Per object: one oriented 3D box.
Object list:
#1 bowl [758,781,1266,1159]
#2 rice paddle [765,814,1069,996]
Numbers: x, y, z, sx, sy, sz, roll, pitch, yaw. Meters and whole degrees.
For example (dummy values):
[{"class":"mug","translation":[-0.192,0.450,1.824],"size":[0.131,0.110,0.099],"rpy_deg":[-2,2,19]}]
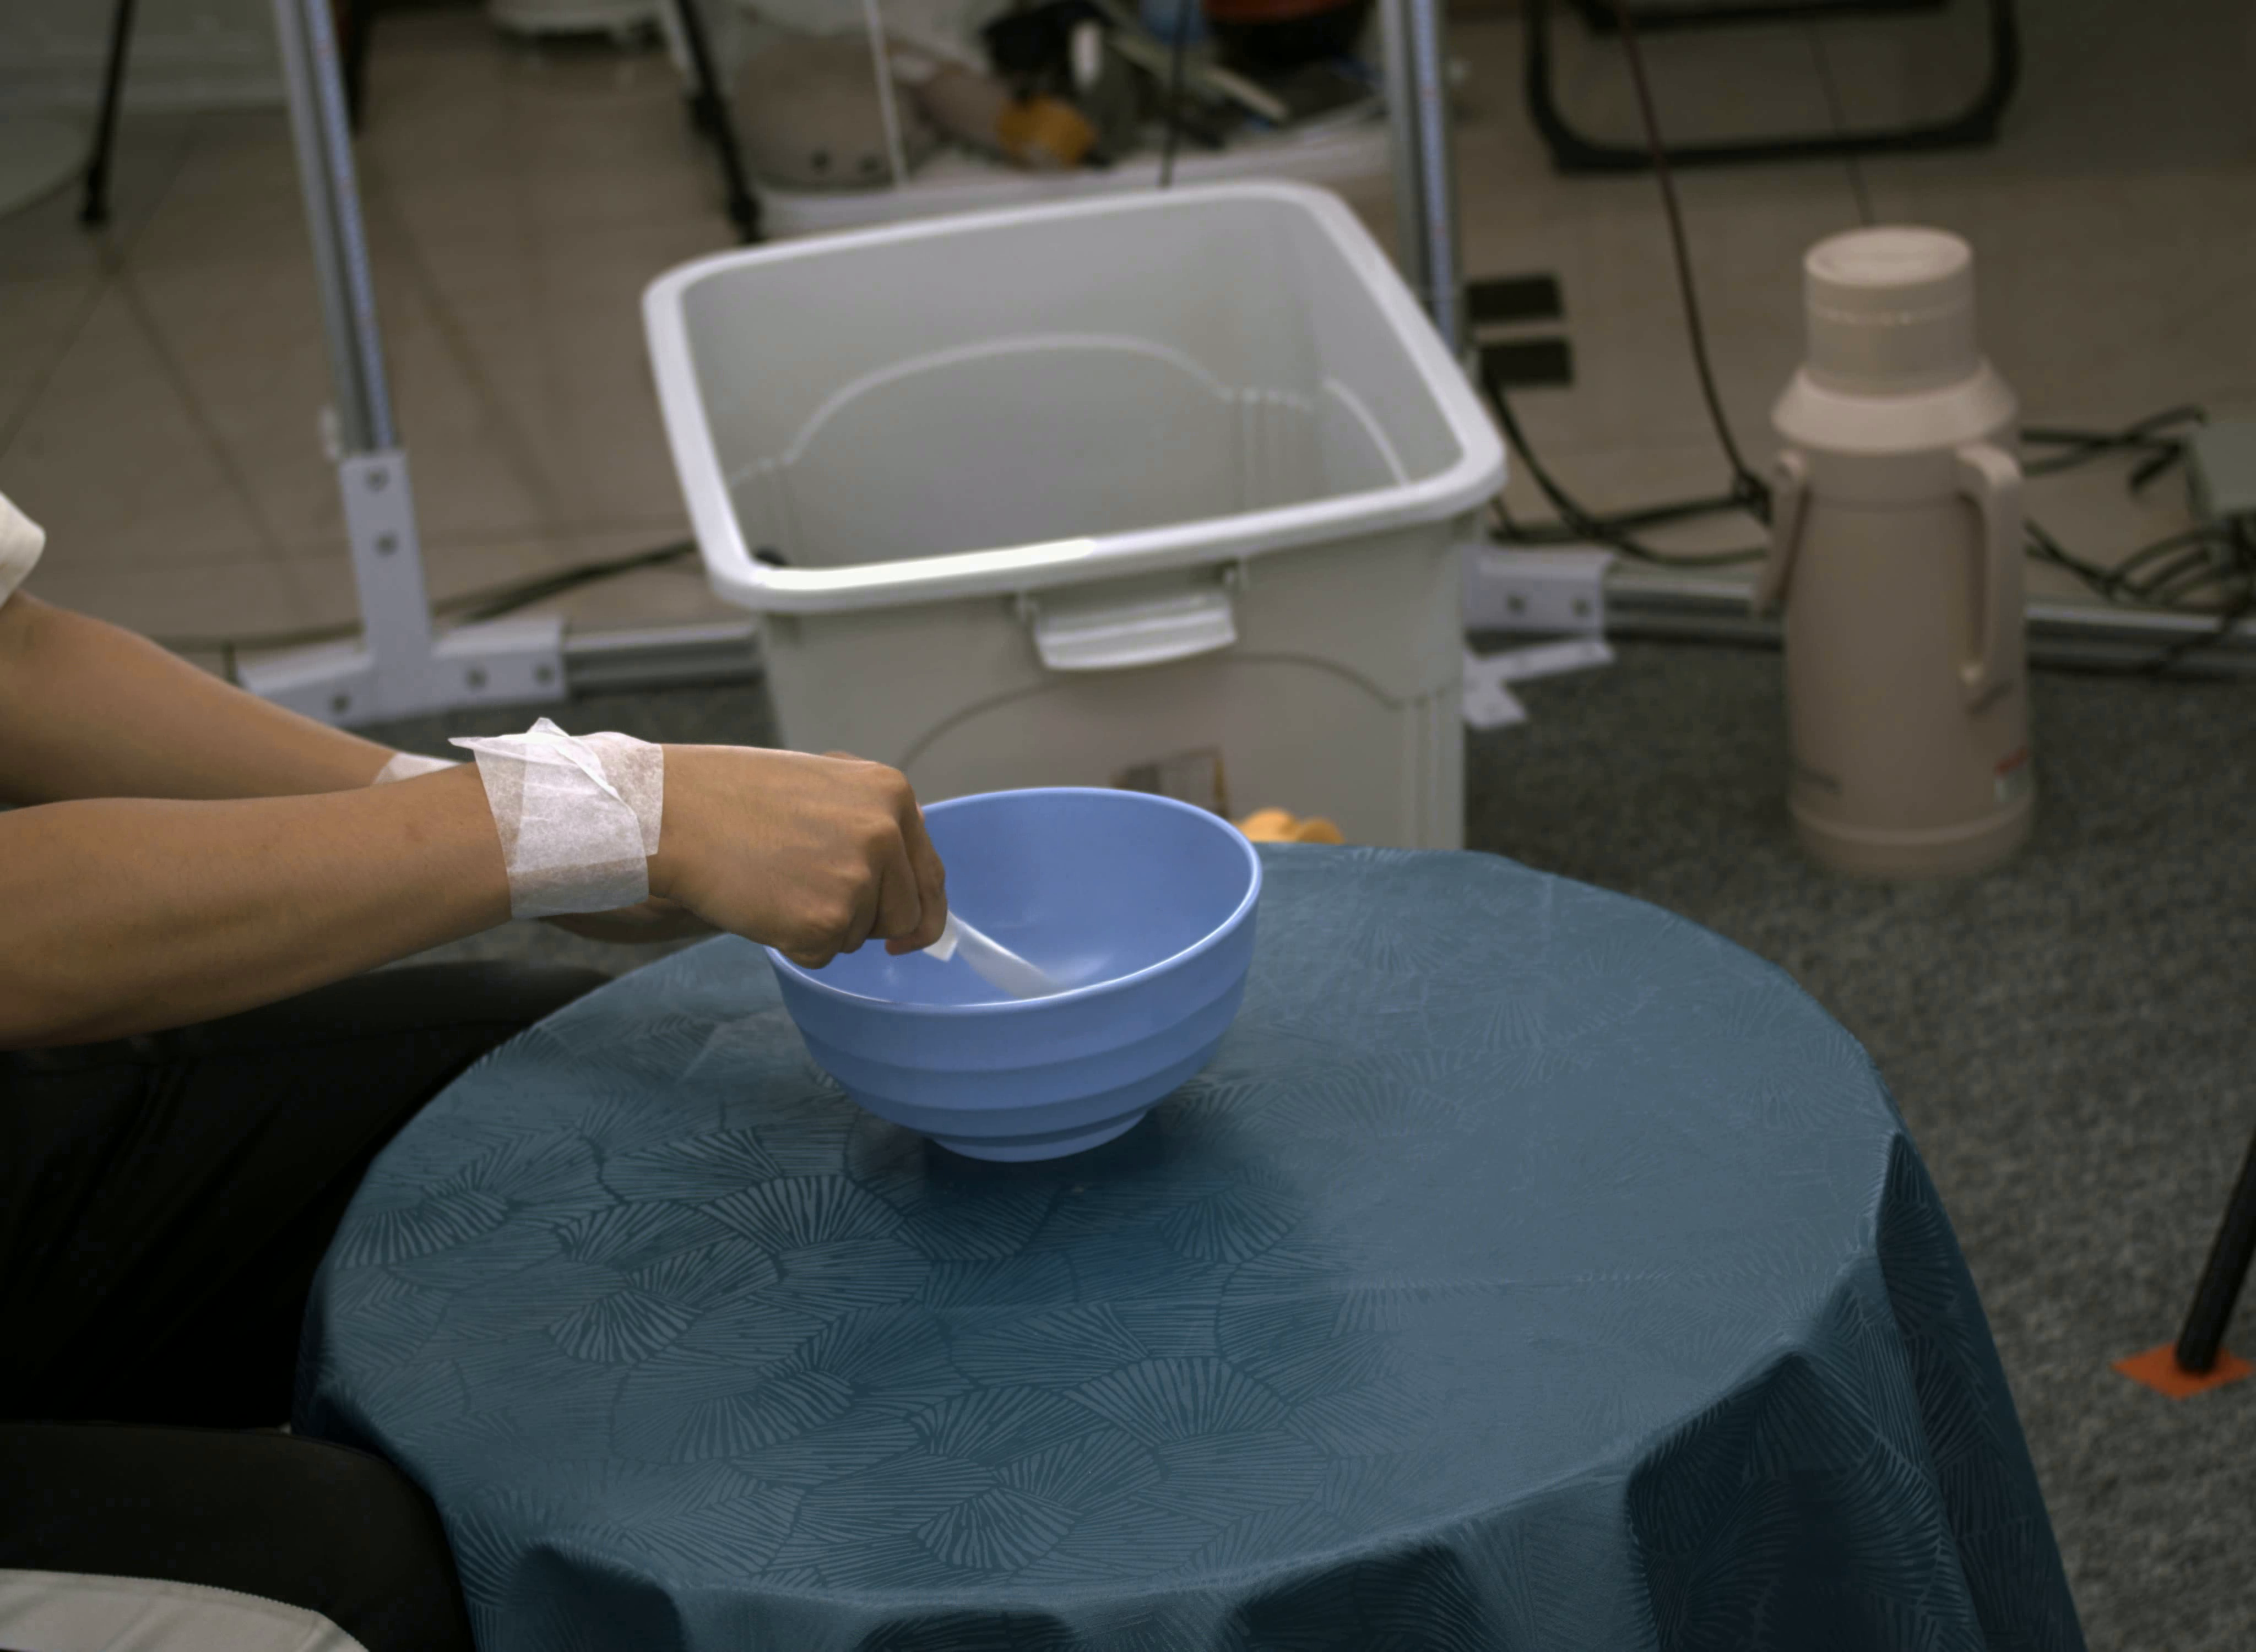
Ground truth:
[{"class":"bowl","translation":[-0.041,0.066,2.202],"size":[0.196,0.097,0.193],"rpy_deg":[-4,26,2]},{"class":"rice paddle","translation":[-0.068,0.038,2.159],"size":[0.068,0.029,0.207],"rpy_deg":[24,-3,36]}]
